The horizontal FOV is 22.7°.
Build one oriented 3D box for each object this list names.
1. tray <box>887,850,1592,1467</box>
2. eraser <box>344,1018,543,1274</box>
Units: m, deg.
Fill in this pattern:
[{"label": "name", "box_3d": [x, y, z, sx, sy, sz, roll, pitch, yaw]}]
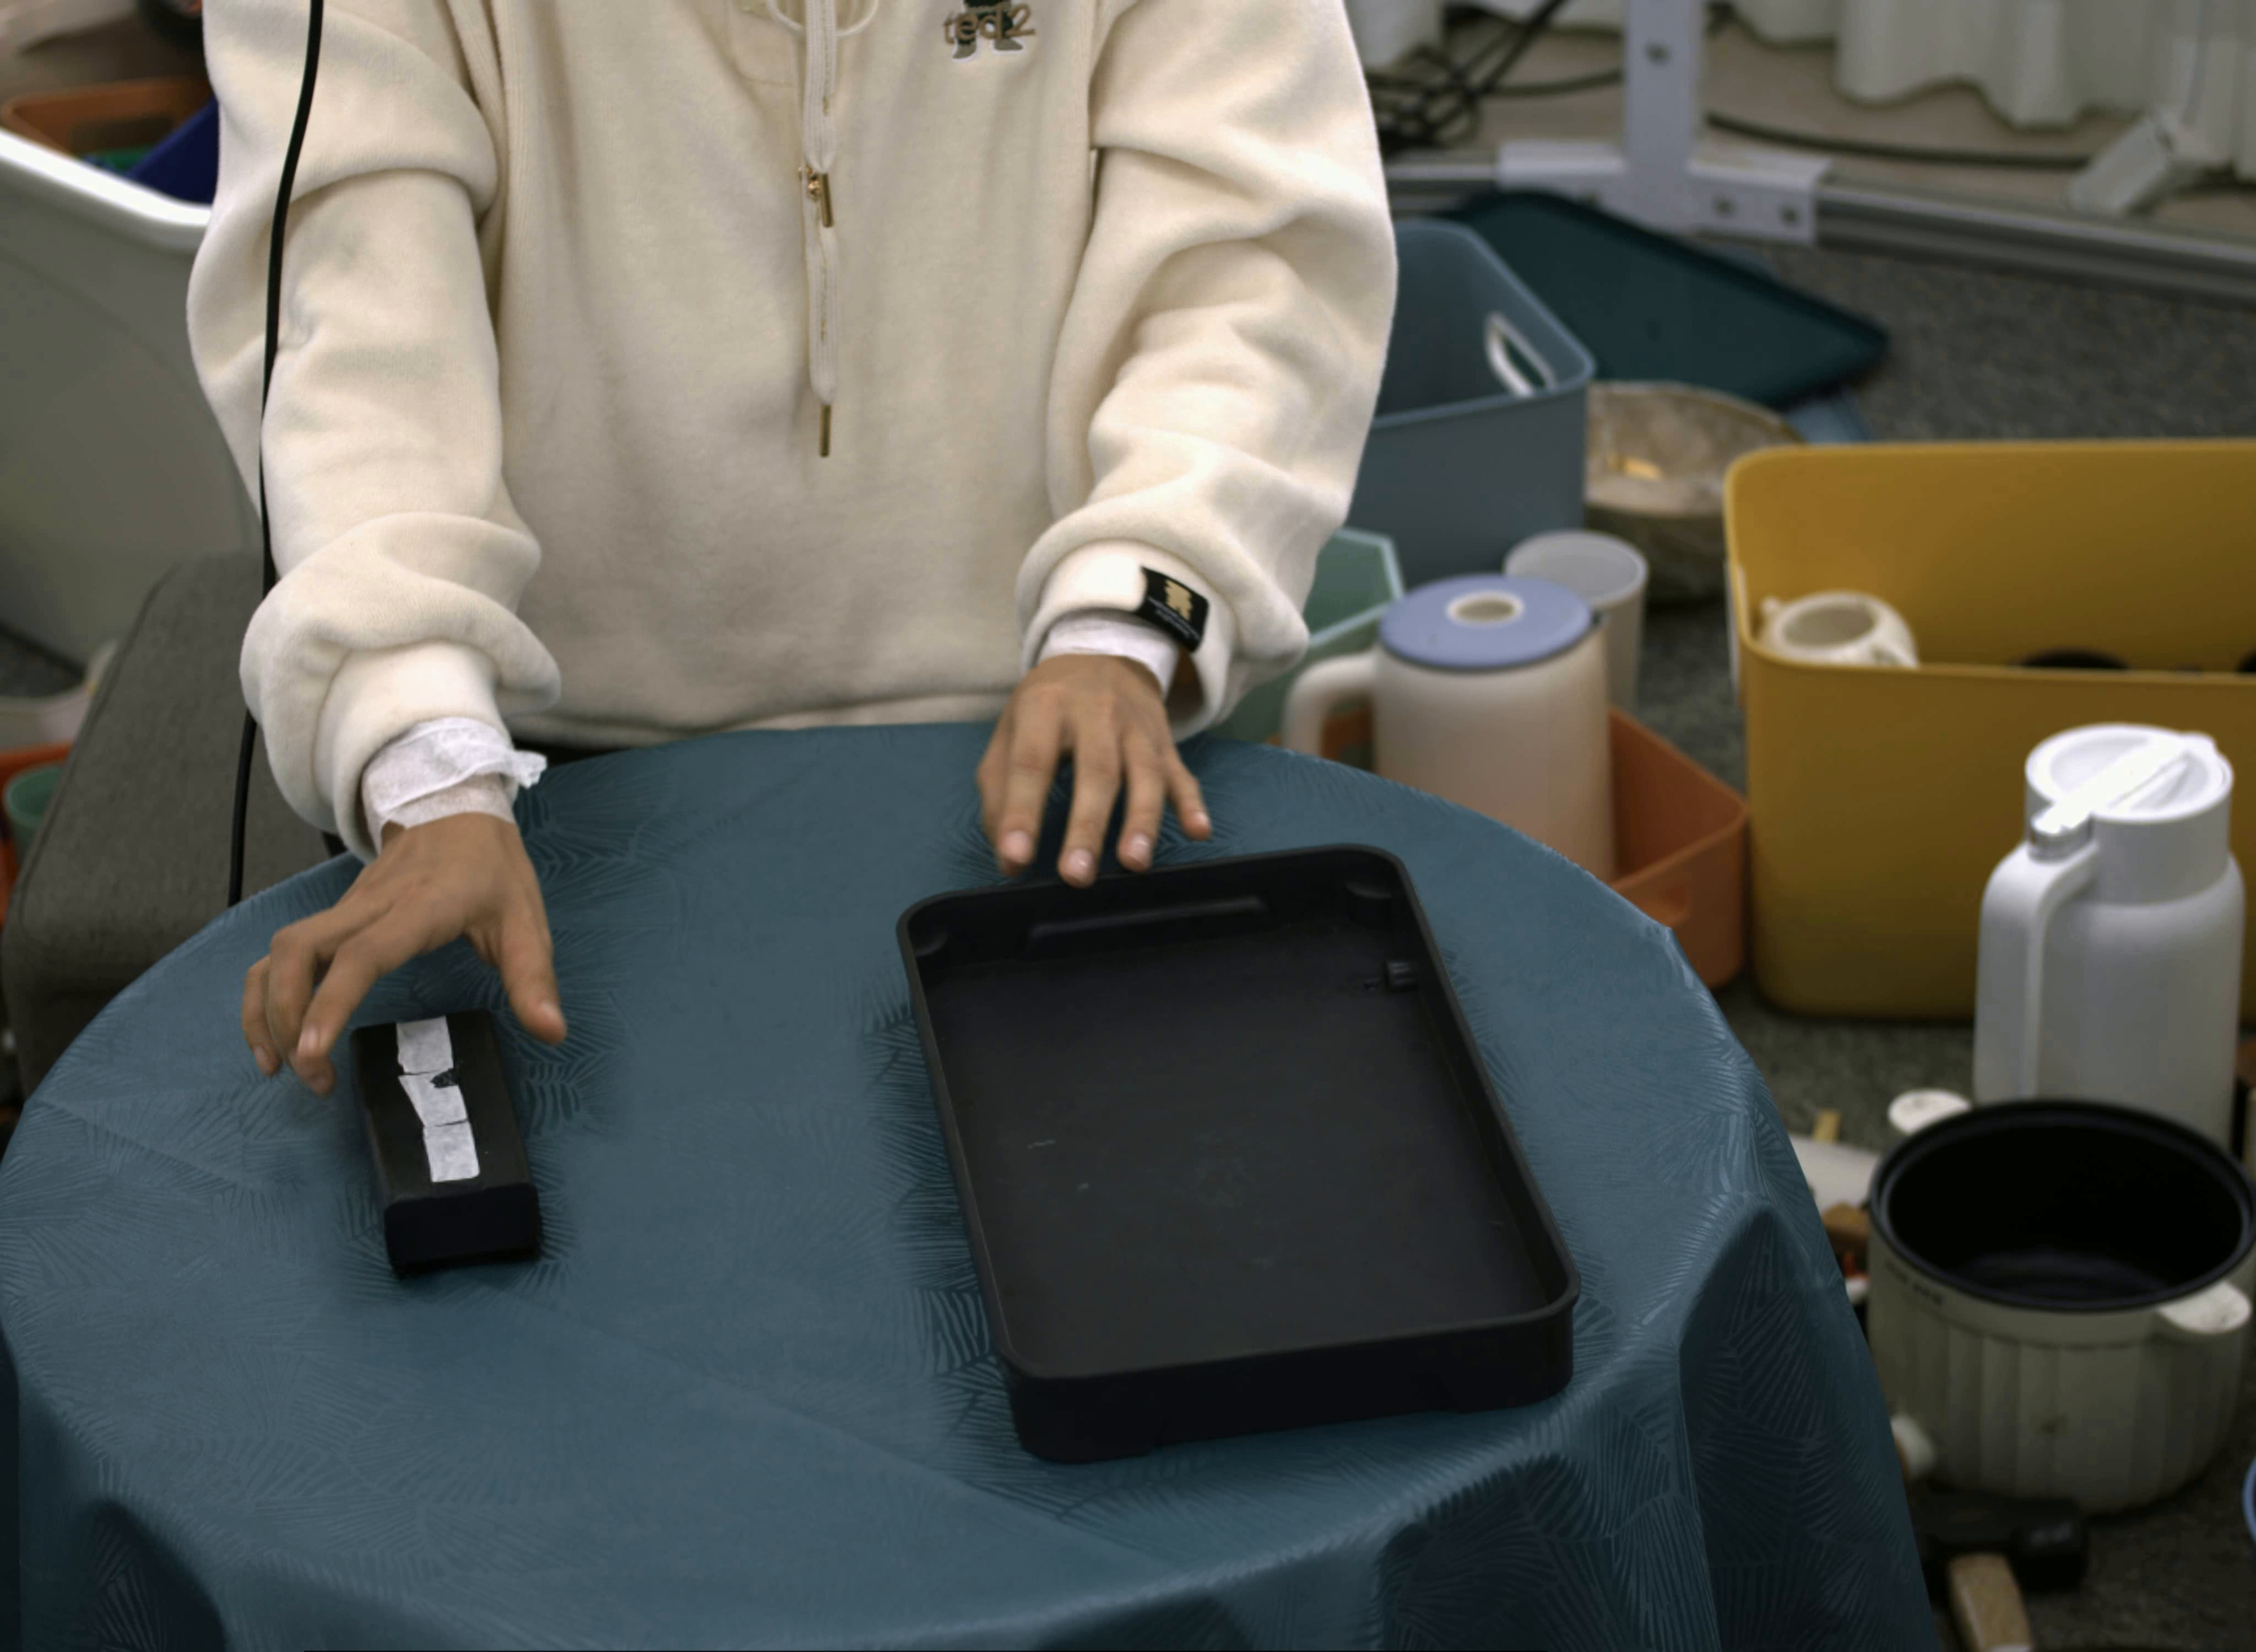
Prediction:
[{"label": "tray", "box_3d": [0.030, 0.103, 1.854, 0.184, 0.036, 0.322, -7, 27, -8]}, {"label": "eraser", "box_3d": [-0.230, 0.107, 1.882, 0.053, 0.030, 0.127, -4, 27, -12]}]
